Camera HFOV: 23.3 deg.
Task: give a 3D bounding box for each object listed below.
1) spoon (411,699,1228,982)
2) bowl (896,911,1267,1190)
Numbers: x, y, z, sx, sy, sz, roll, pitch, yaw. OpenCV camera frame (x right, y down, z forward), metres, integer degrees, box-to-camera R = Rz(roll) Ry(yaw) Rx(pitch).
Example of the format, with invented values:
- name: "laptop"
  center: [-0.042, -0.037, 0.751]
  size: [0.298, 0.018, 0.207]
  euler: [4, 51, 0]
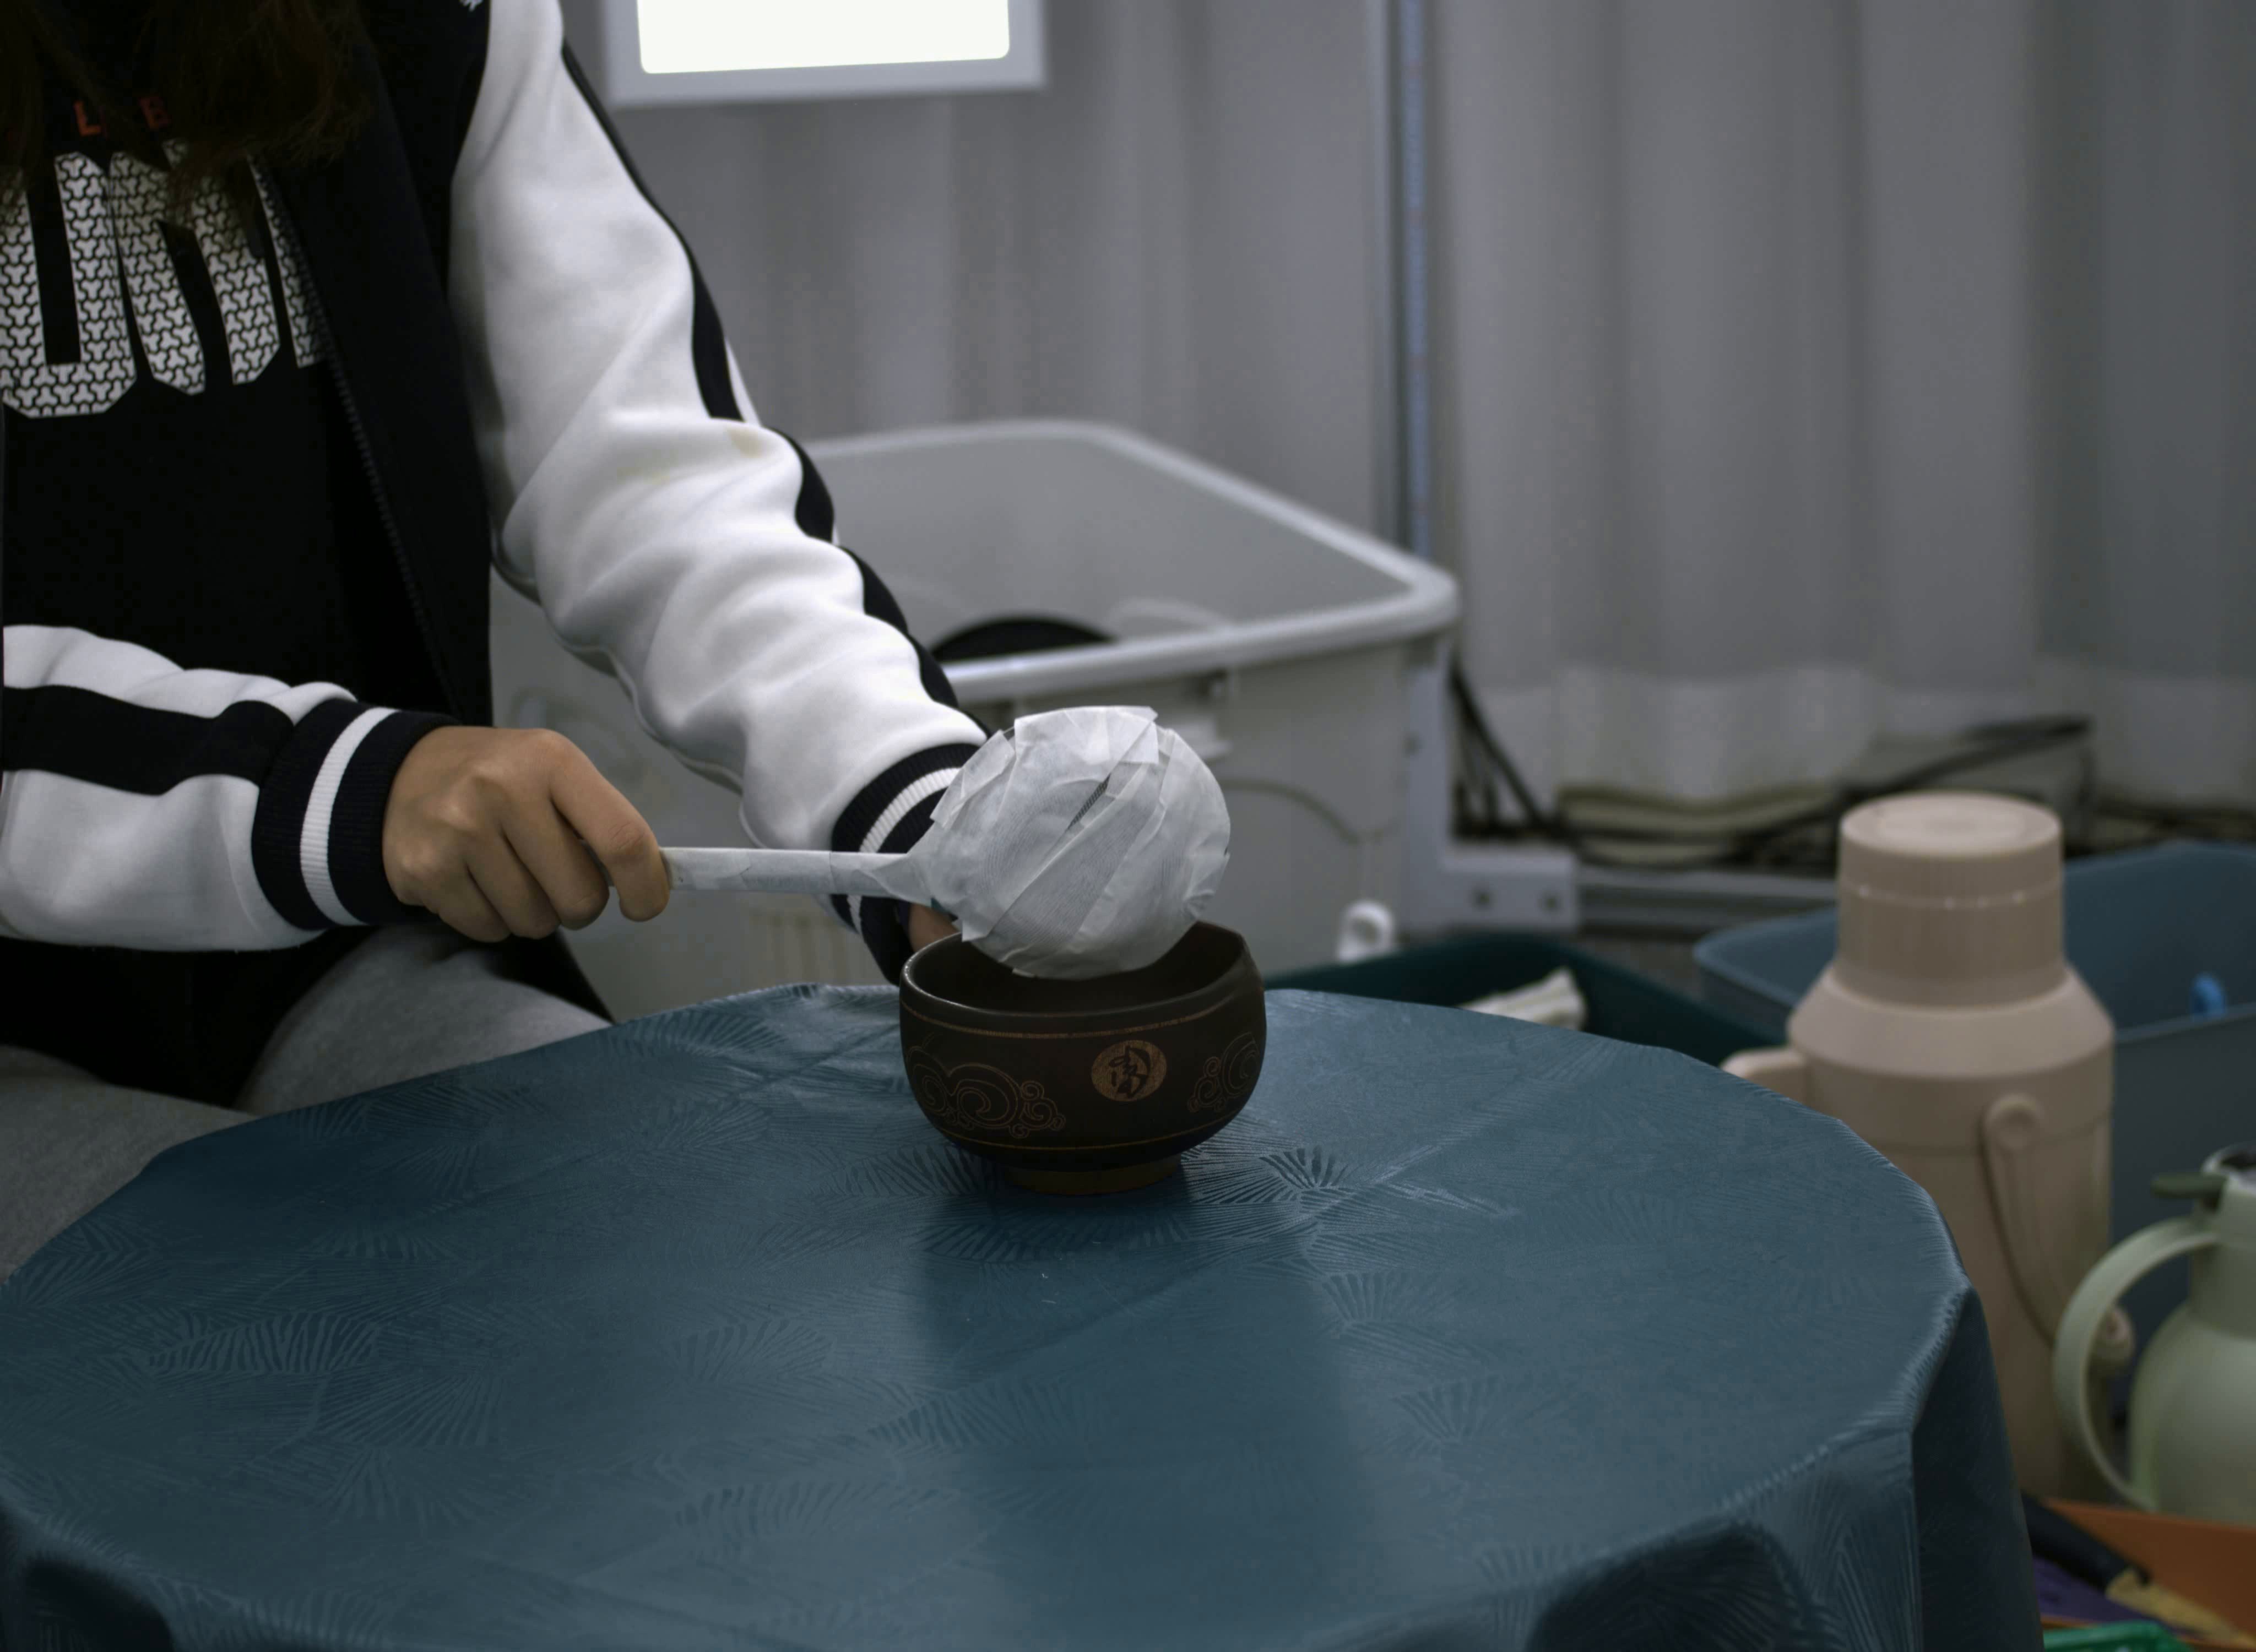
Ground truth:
- name: "spoon"
  center: [-0.101, 0.007, 1.754]
  size: [0.278, 0.100, 0.060]
  euler: [0, 25, 29]
- name: "bowl"
  center: [-0.014, 0.074, 1.730]
  size: [0.117, 0.069, 0.119]
  euler: [-3, 14, 0]
